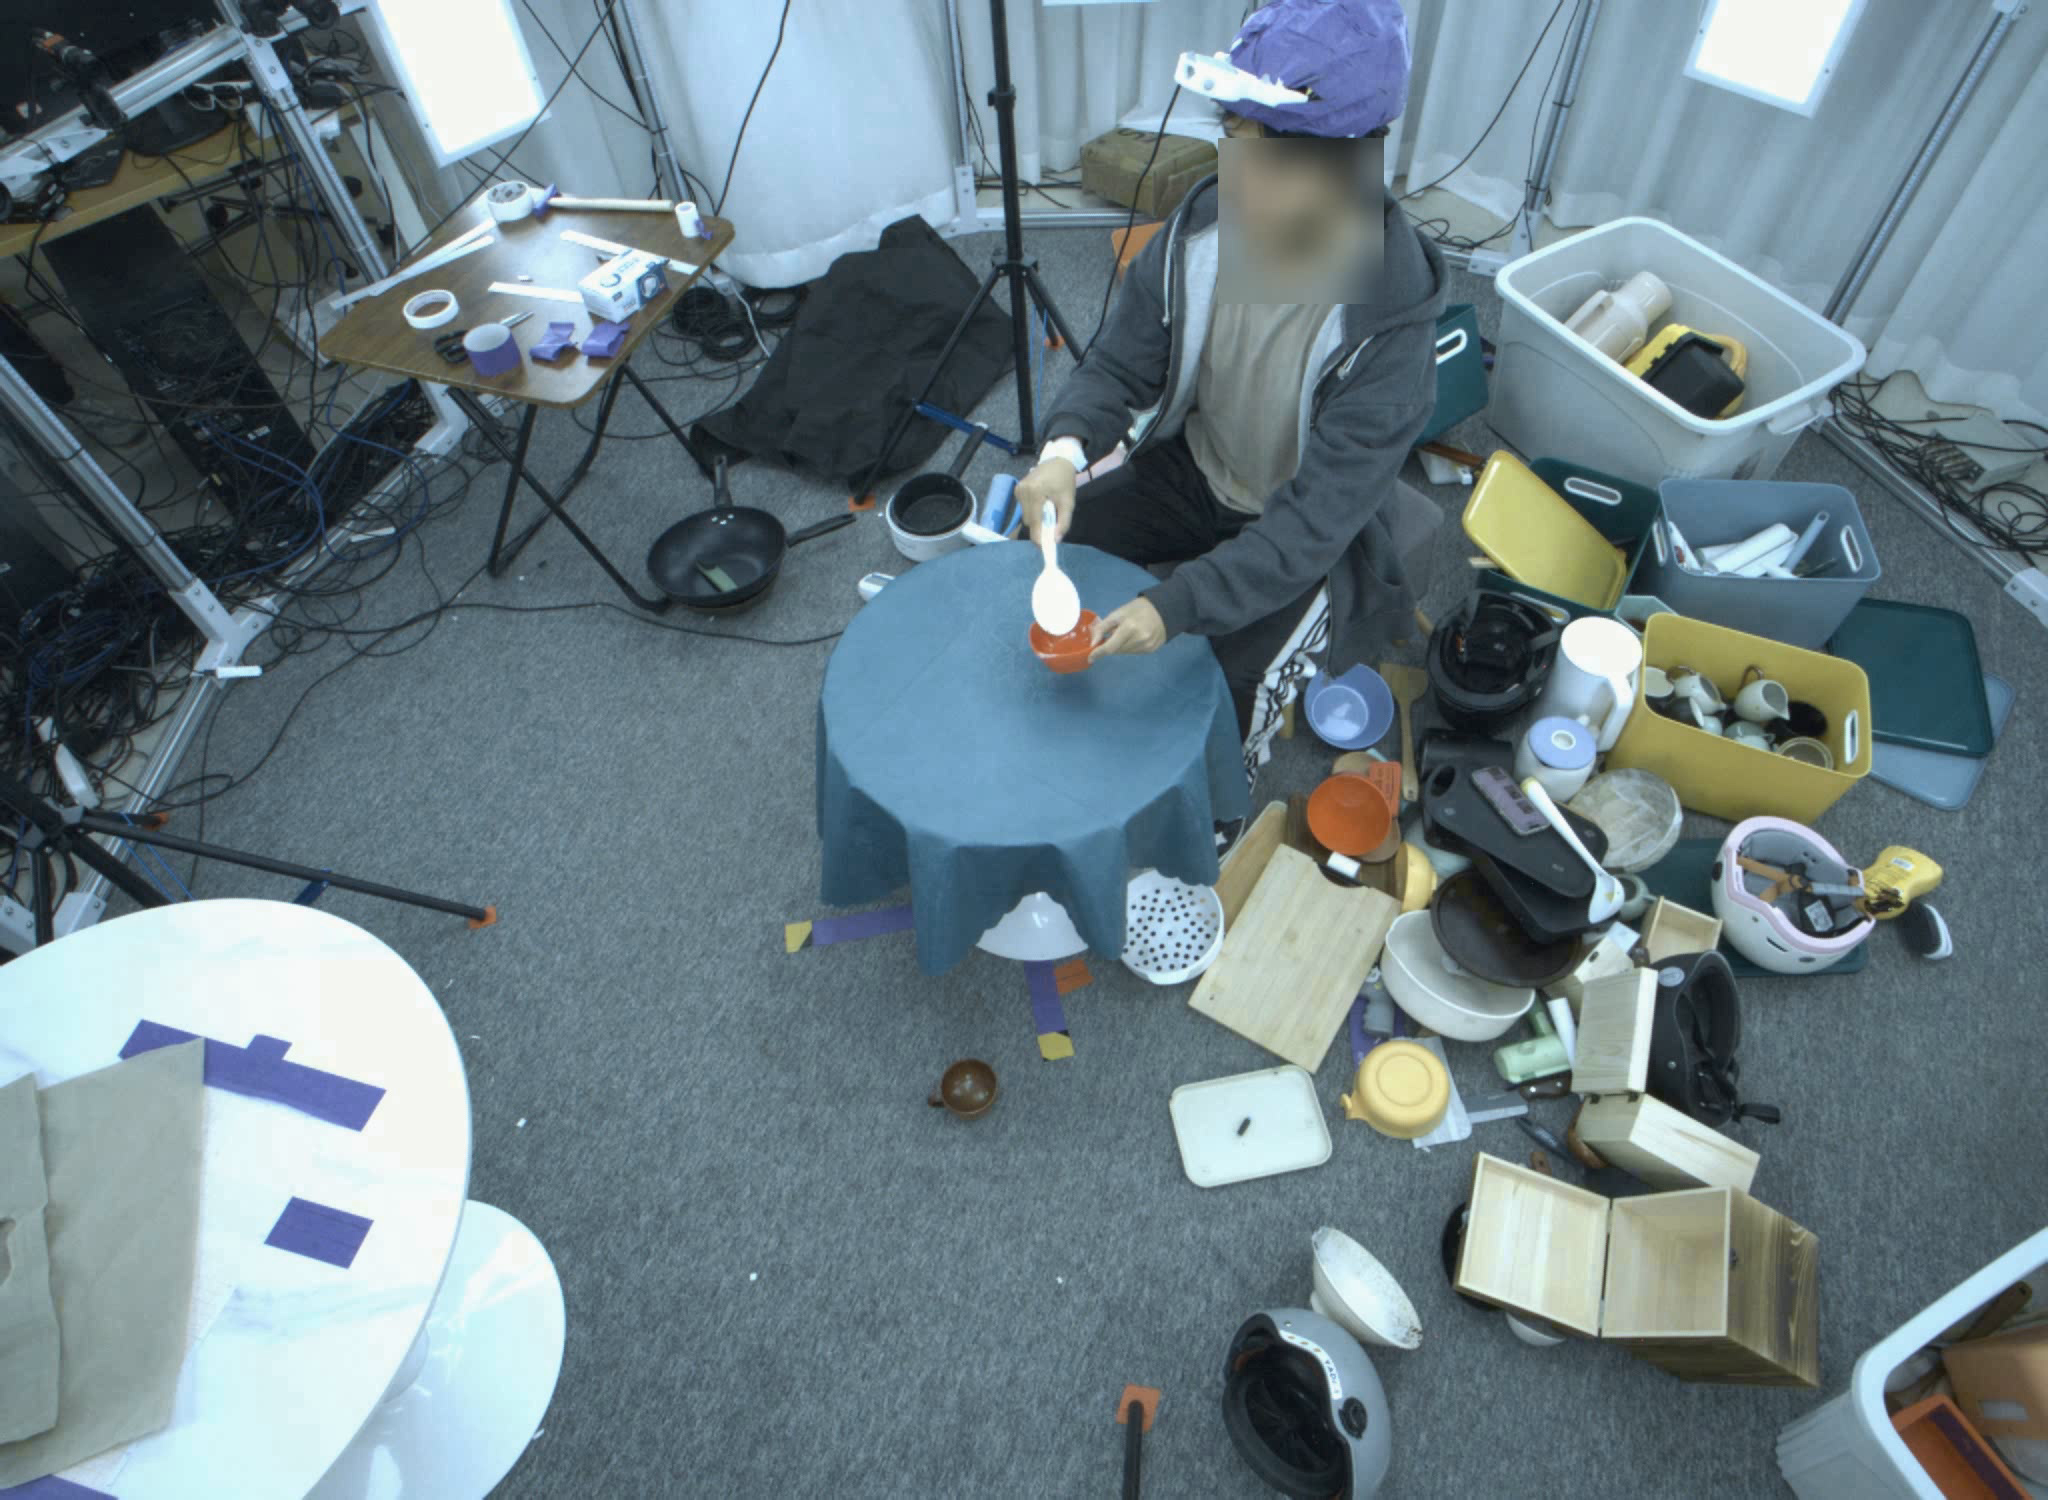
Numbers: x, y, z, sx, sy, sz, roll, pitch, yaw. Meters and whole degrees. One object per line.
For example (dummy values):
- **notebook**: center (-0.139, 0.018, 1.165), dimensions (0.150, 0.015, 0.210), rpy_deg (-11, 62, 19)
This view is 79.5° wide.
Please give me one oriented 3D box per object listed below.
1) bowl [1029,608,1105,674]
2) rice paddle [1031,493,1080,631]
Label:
- **bowl**: center (0.065, -0.153, 1.801), dimensions (0.118, 0.052, 0.117), rpy_deg (-6, 42, 7)
- **rice paddle**: center (0.039, -0.271, 1.773), dimensions (0.069, 0.029, 0.204), rpy_deg (-6, 83, -11)
